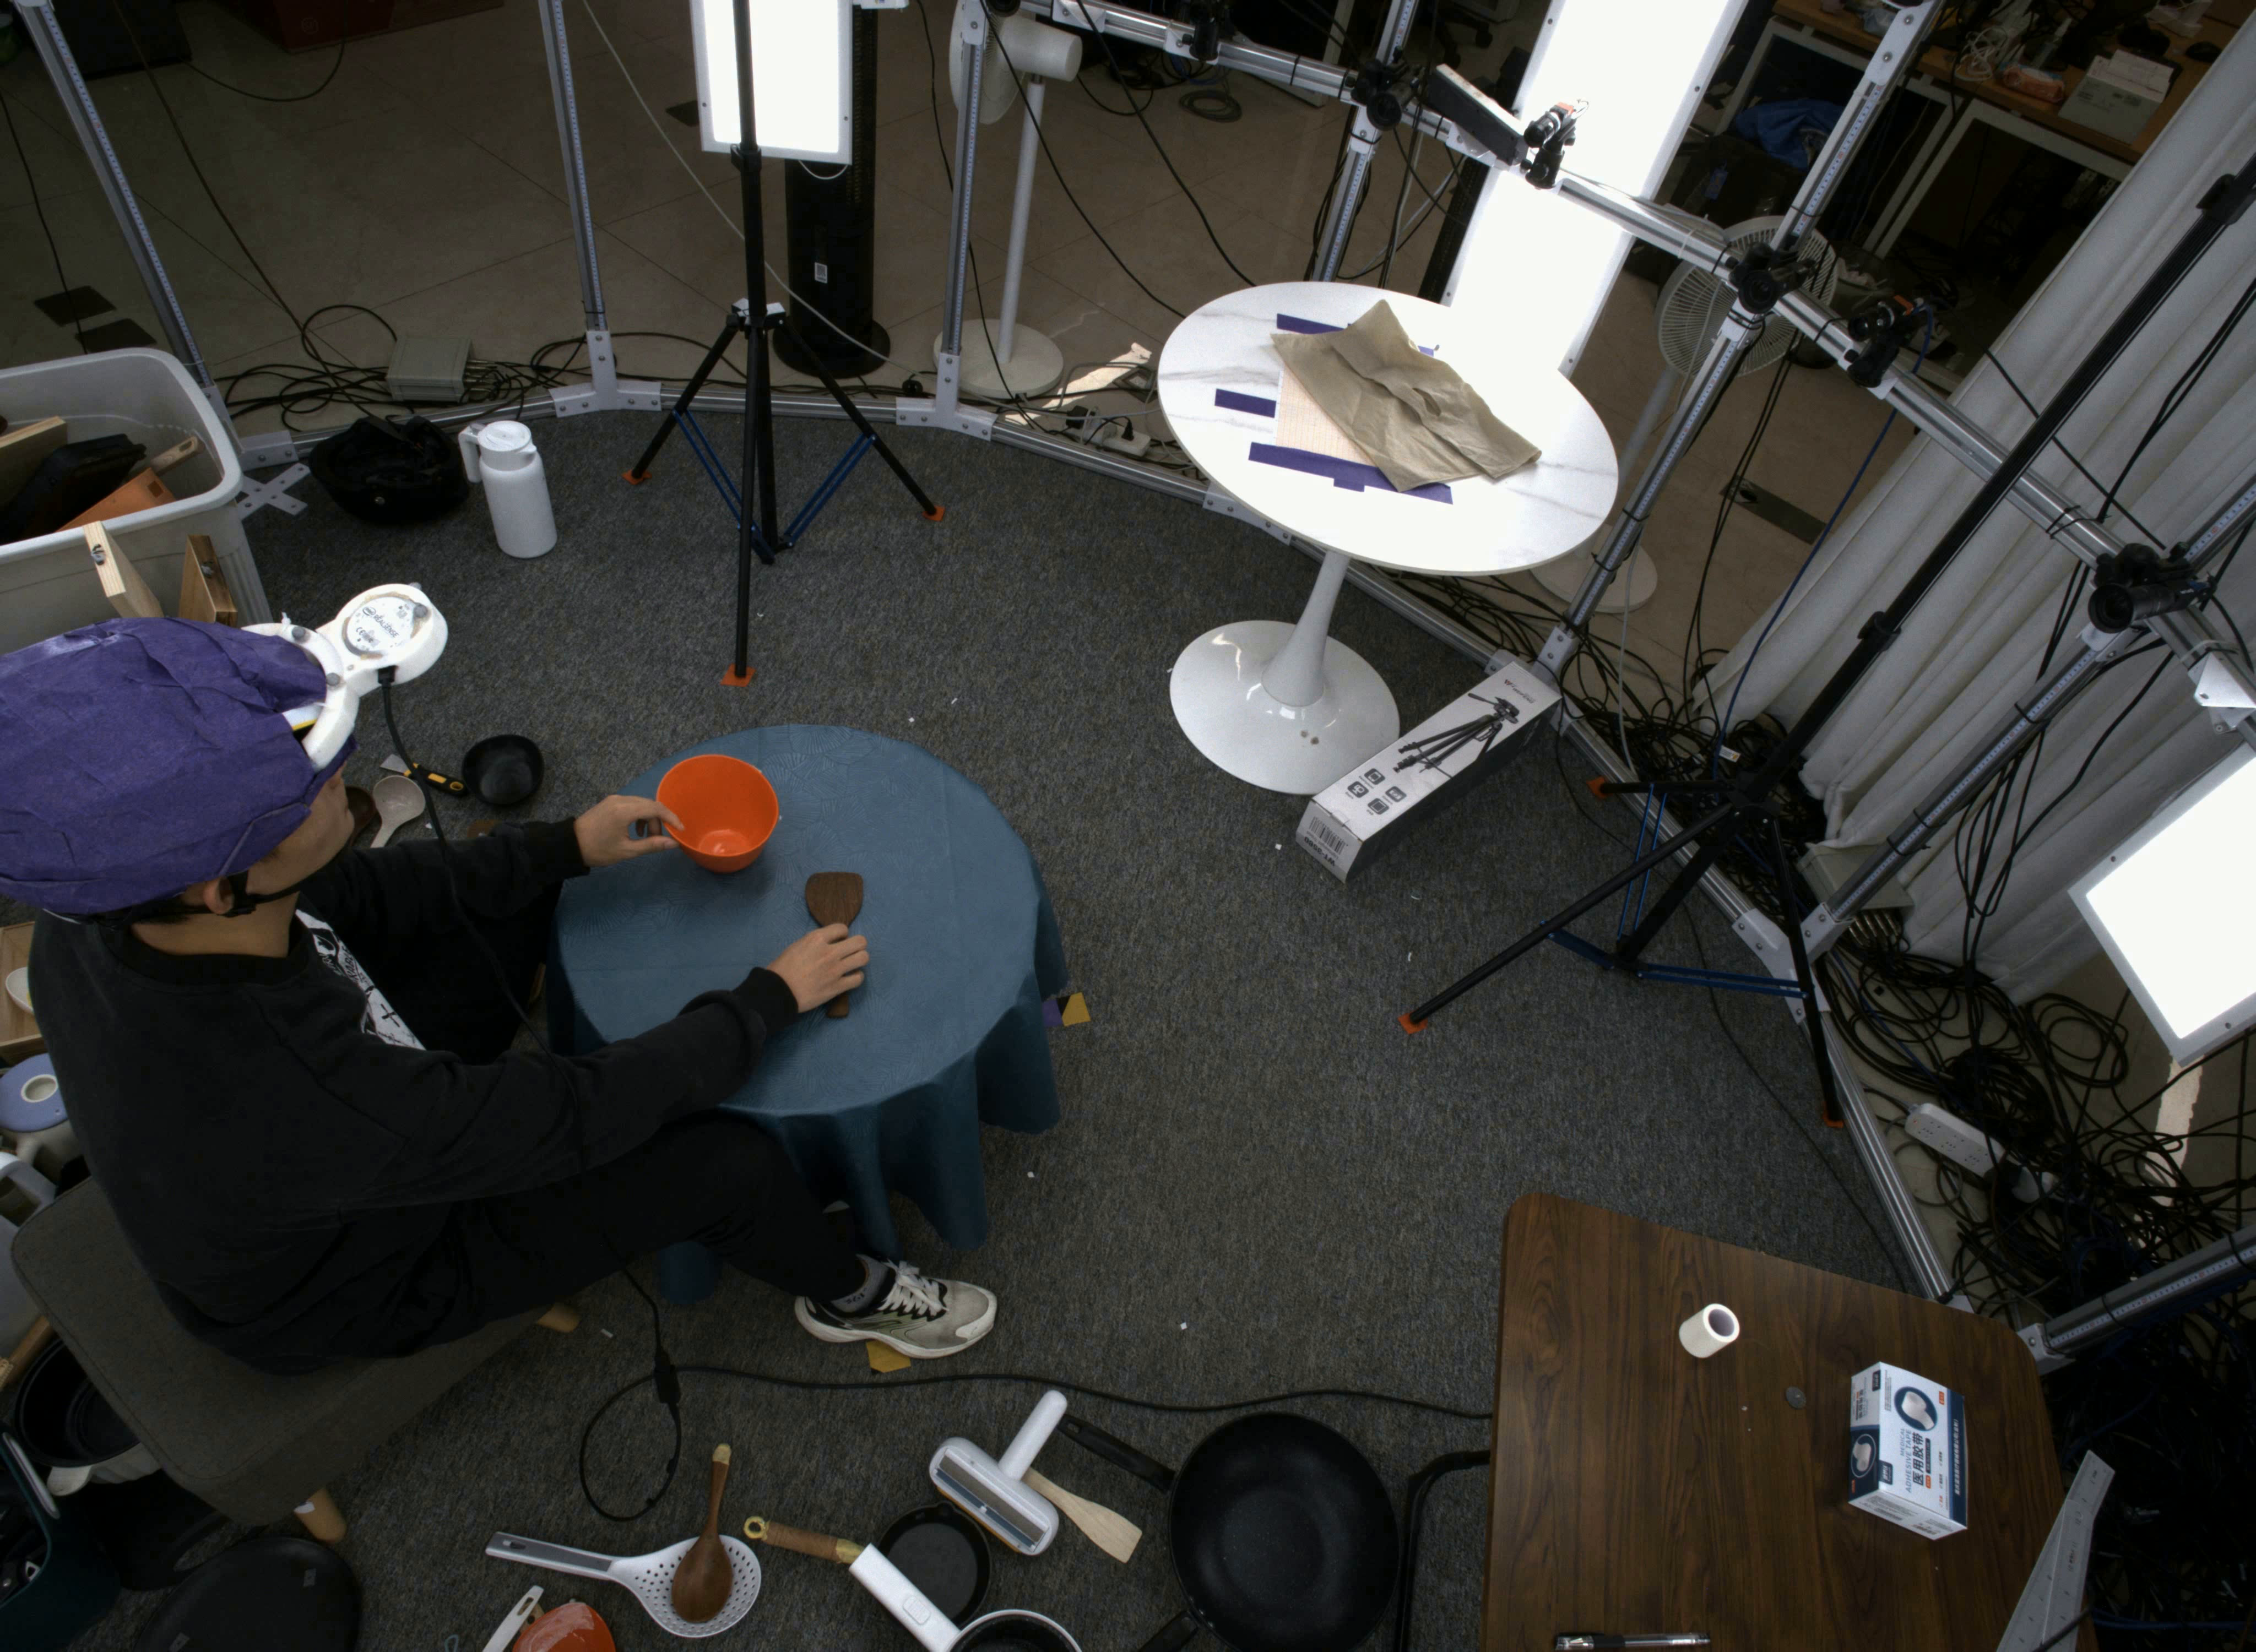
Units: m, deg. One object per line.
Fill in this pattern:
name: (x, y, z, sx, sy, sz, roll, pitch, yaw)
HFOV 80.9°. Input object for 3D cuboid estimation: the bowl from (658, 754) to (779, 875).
bowl: (-0.518, -0.004, 1.639, 0.148, 0.106, 0.145, 10, 50, -11)

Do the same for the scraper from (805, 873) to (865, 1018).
scraper: (-0.366, 0.145, 1.628, 0.076, 0.011, 0.207, 2, 54, -17)
